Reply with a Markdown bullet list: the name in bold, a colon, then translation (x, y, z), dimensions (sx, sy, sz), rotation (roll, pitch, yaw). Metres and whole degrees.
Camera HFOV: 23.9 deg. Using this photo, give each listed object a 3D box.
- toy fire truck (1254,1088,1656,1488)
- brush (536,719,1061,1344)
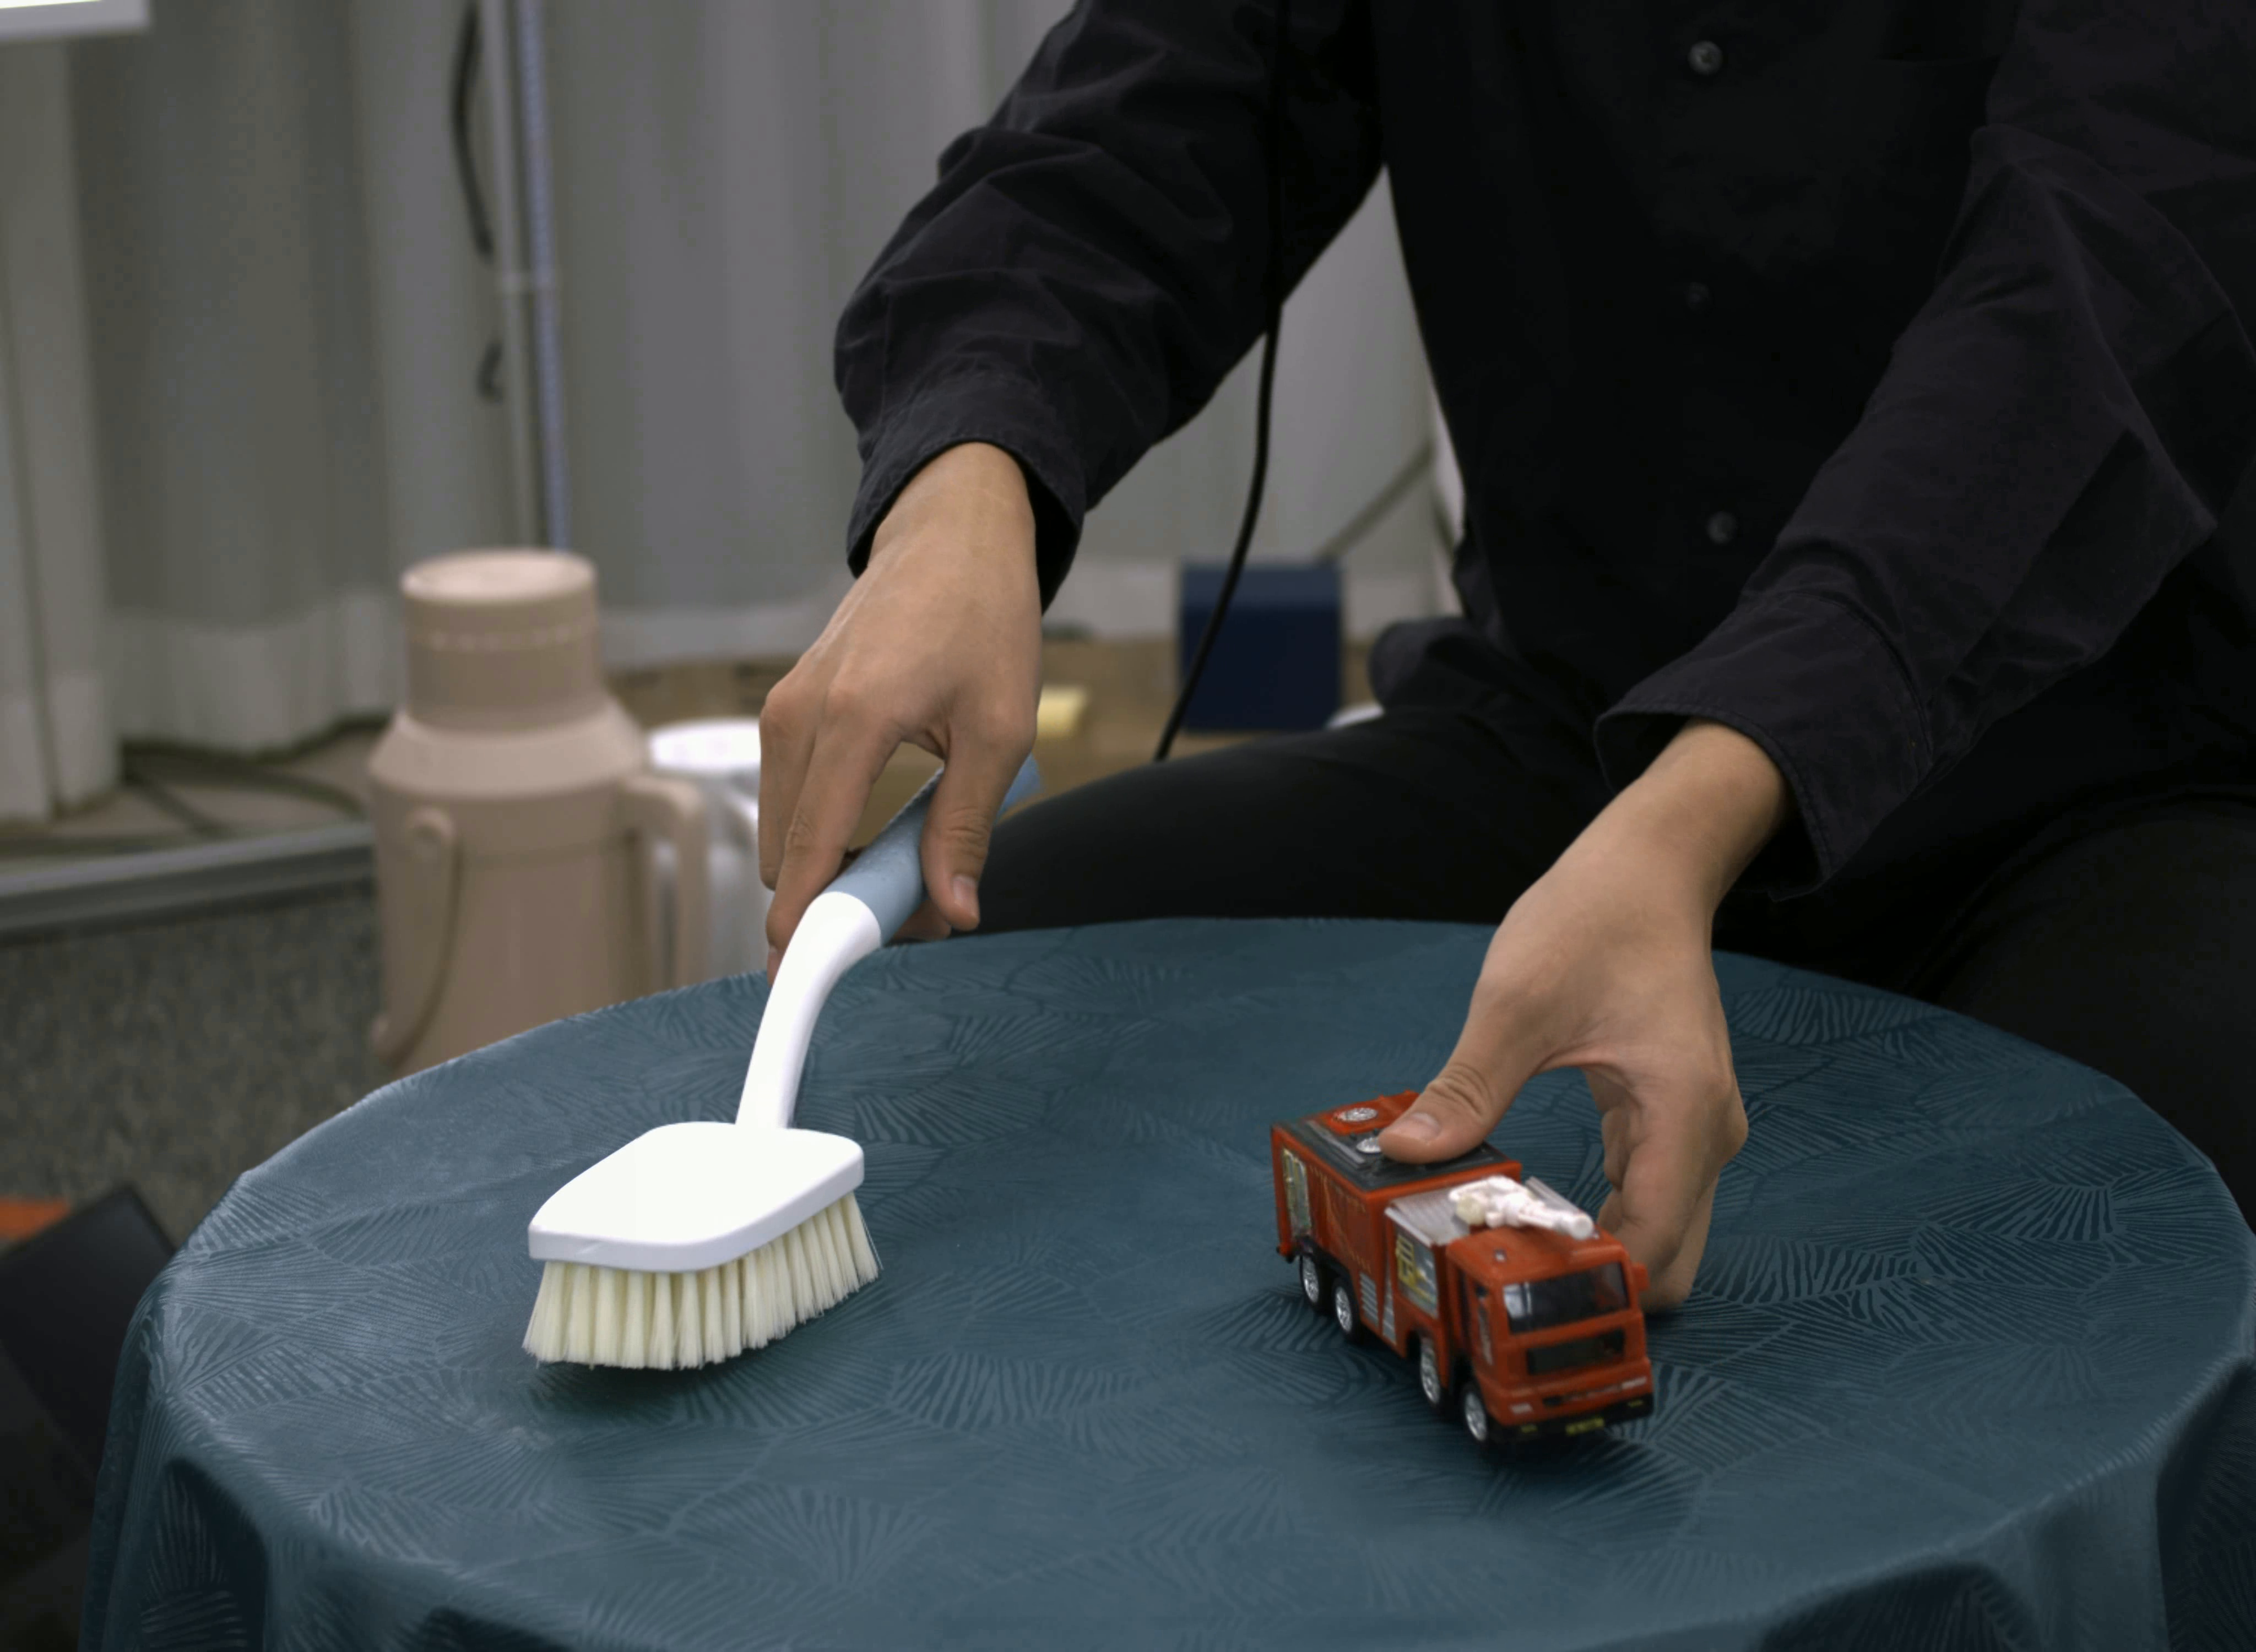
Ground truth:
- **toy fire truck**: translation (0.085, 0.118, 1.398), dimensions (0.053, 0.070, 0.171), rotation (-10, 15, -19)
- **brush**: translation (-0.082, 0.073, 1.557), dimensions (0.083, 0.085, 0.322), rotation (37, 34, 3)
